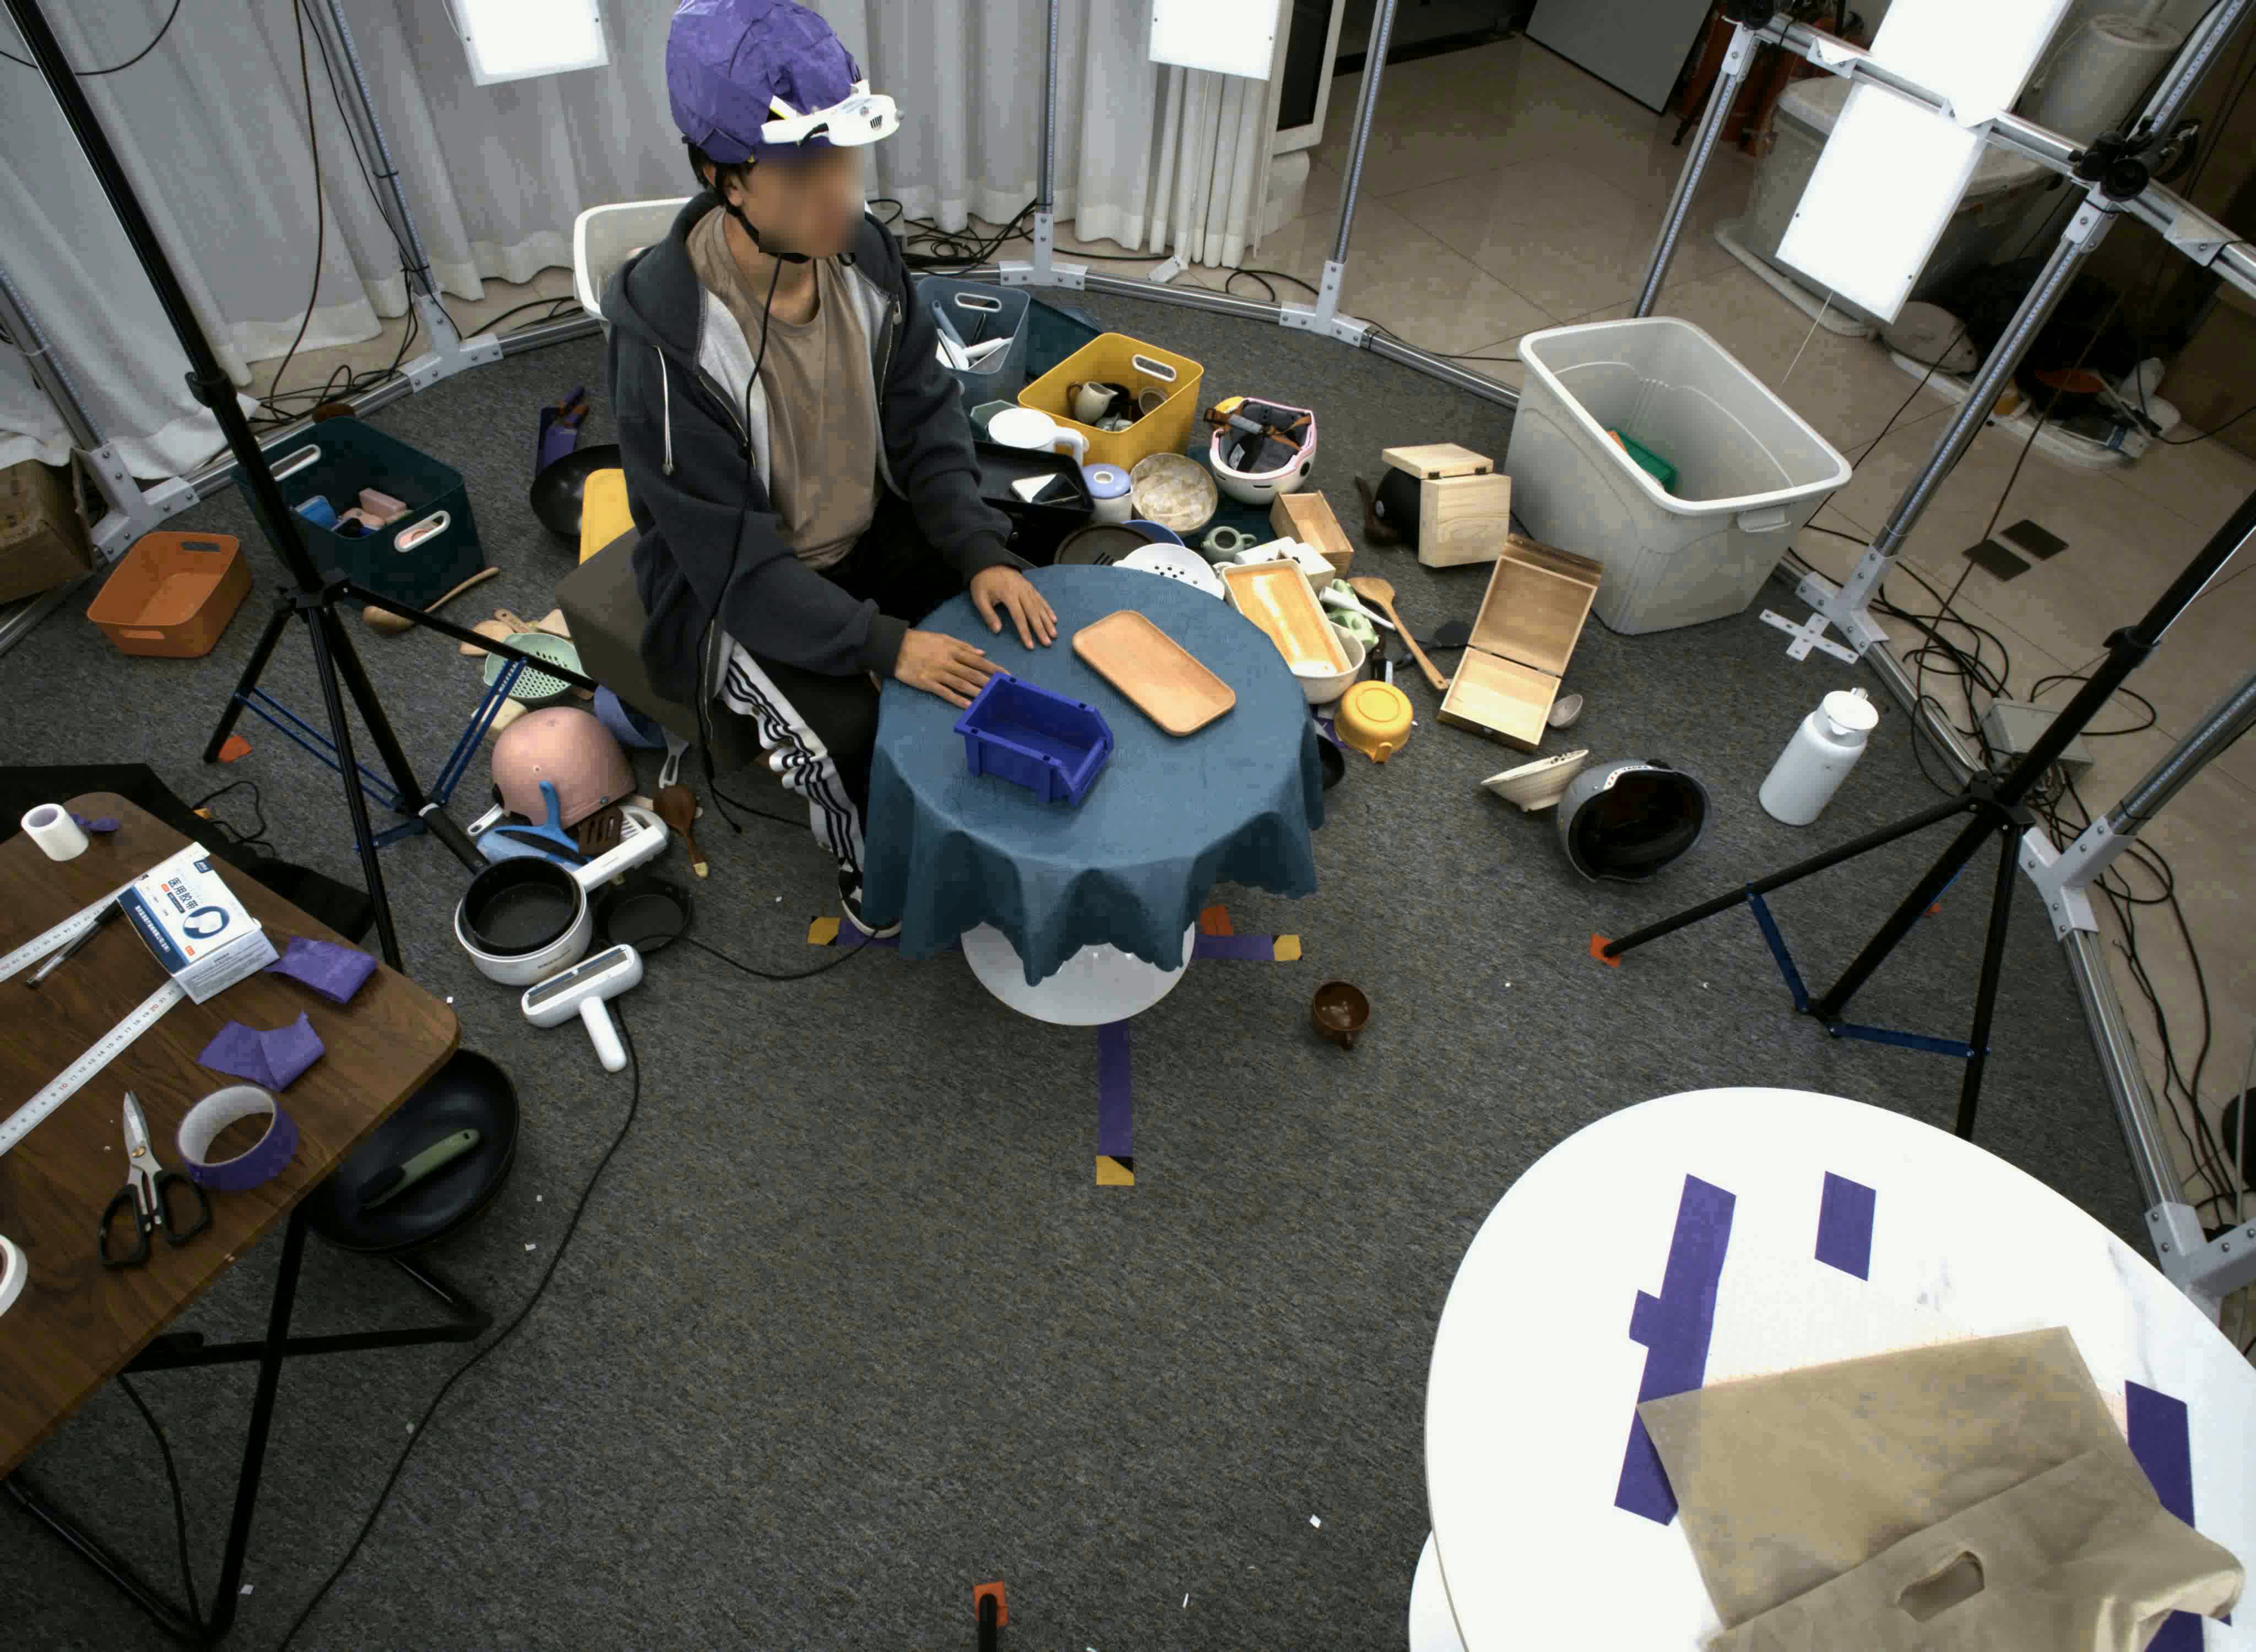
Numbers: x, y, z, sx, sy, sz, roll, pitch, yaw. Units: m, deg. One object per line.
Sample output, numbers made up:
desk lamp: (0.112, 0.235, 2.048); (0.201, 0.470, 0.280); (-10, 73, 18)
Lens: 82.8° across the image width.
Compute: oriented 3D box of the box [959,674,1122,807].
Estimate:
box: (-0.112, -0.111, 1.701); (0.181, 0.080, 0.126); (21, 50, 18)

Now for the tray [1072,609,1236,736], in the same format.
tray: (0.035, -0.223, 1.851); (0.131, 0.022, 0.255); (-29, 56, -29)
